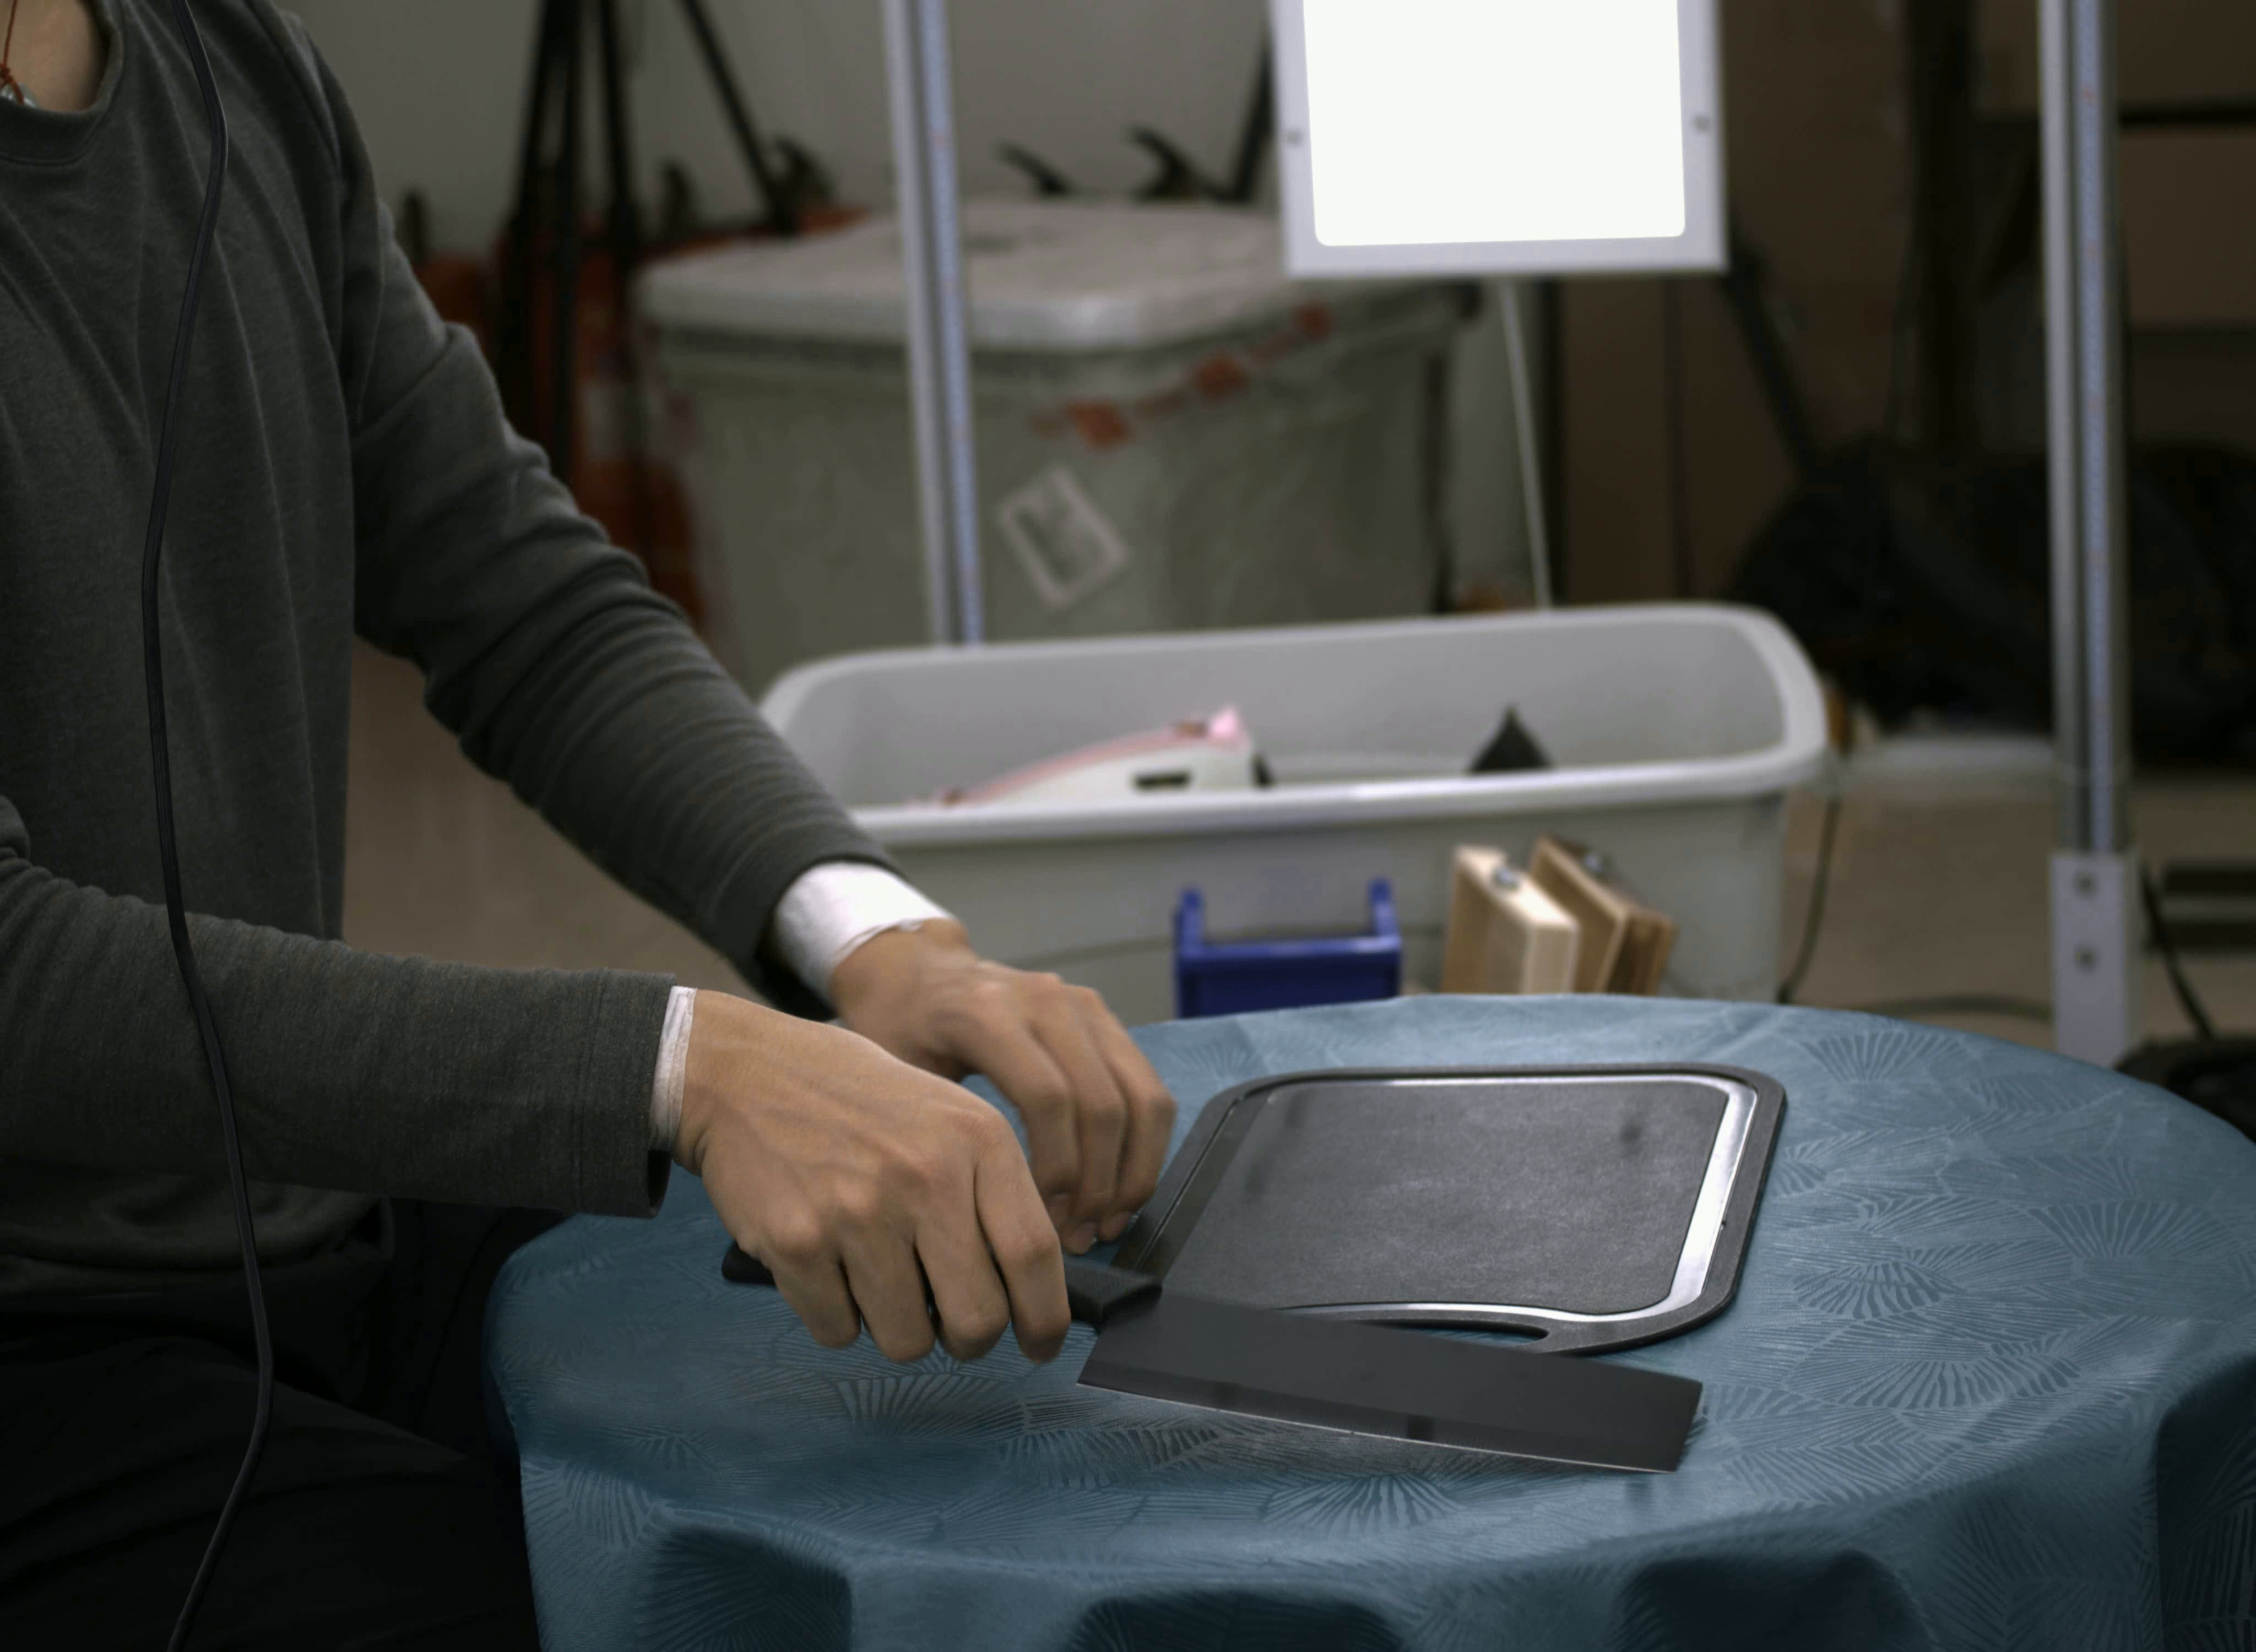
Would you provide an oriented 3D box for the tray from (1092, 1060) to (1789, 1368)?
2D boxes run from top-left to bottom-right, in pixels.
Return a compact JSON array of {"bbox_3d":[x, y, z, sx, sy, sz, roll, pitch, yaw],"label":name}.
[{"bbox_3d":[0.109,0.127,1.850,0.213,0.010,0.321,-2,14,14],"label":"tray"}]

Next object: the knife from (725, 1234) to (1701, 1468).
[{"bbox_3d":[0.023,0.159,1.658,0.306,0.021,0.079,9,21,19],"label":"knife"}]
